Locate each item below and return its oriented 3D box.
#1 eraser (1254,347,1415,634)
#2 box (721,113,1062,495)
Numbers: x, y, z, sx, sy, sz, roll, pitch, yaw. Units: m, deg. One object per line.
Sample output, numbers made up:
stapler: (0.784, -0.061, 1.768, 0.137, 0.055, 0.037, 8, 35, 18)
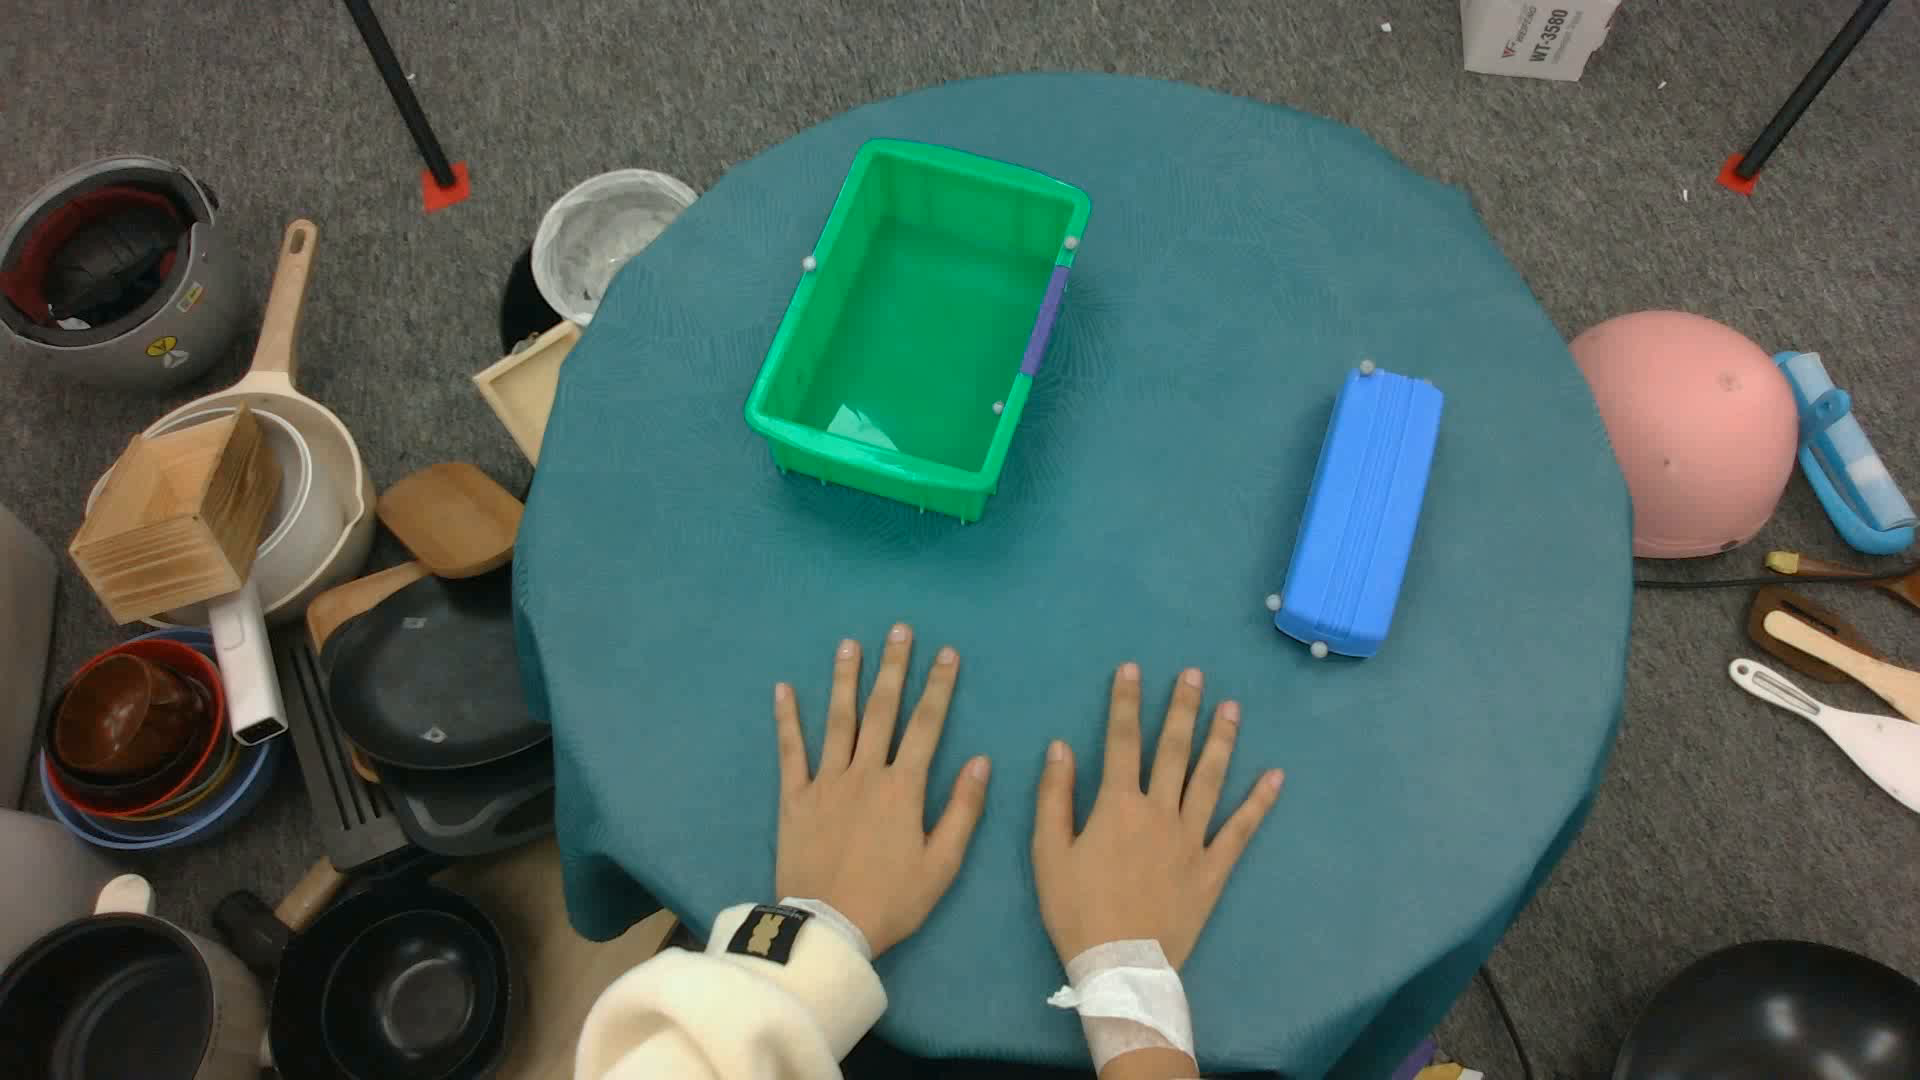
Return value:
eraser: (0.201, -0.031, 0.730, 0.054, 0.047, 0.163, 17, 66, 7)
box: (-0.034, -0.129, 0.763, 0.138, 0.065, 0.211, 15, 65, 4)
